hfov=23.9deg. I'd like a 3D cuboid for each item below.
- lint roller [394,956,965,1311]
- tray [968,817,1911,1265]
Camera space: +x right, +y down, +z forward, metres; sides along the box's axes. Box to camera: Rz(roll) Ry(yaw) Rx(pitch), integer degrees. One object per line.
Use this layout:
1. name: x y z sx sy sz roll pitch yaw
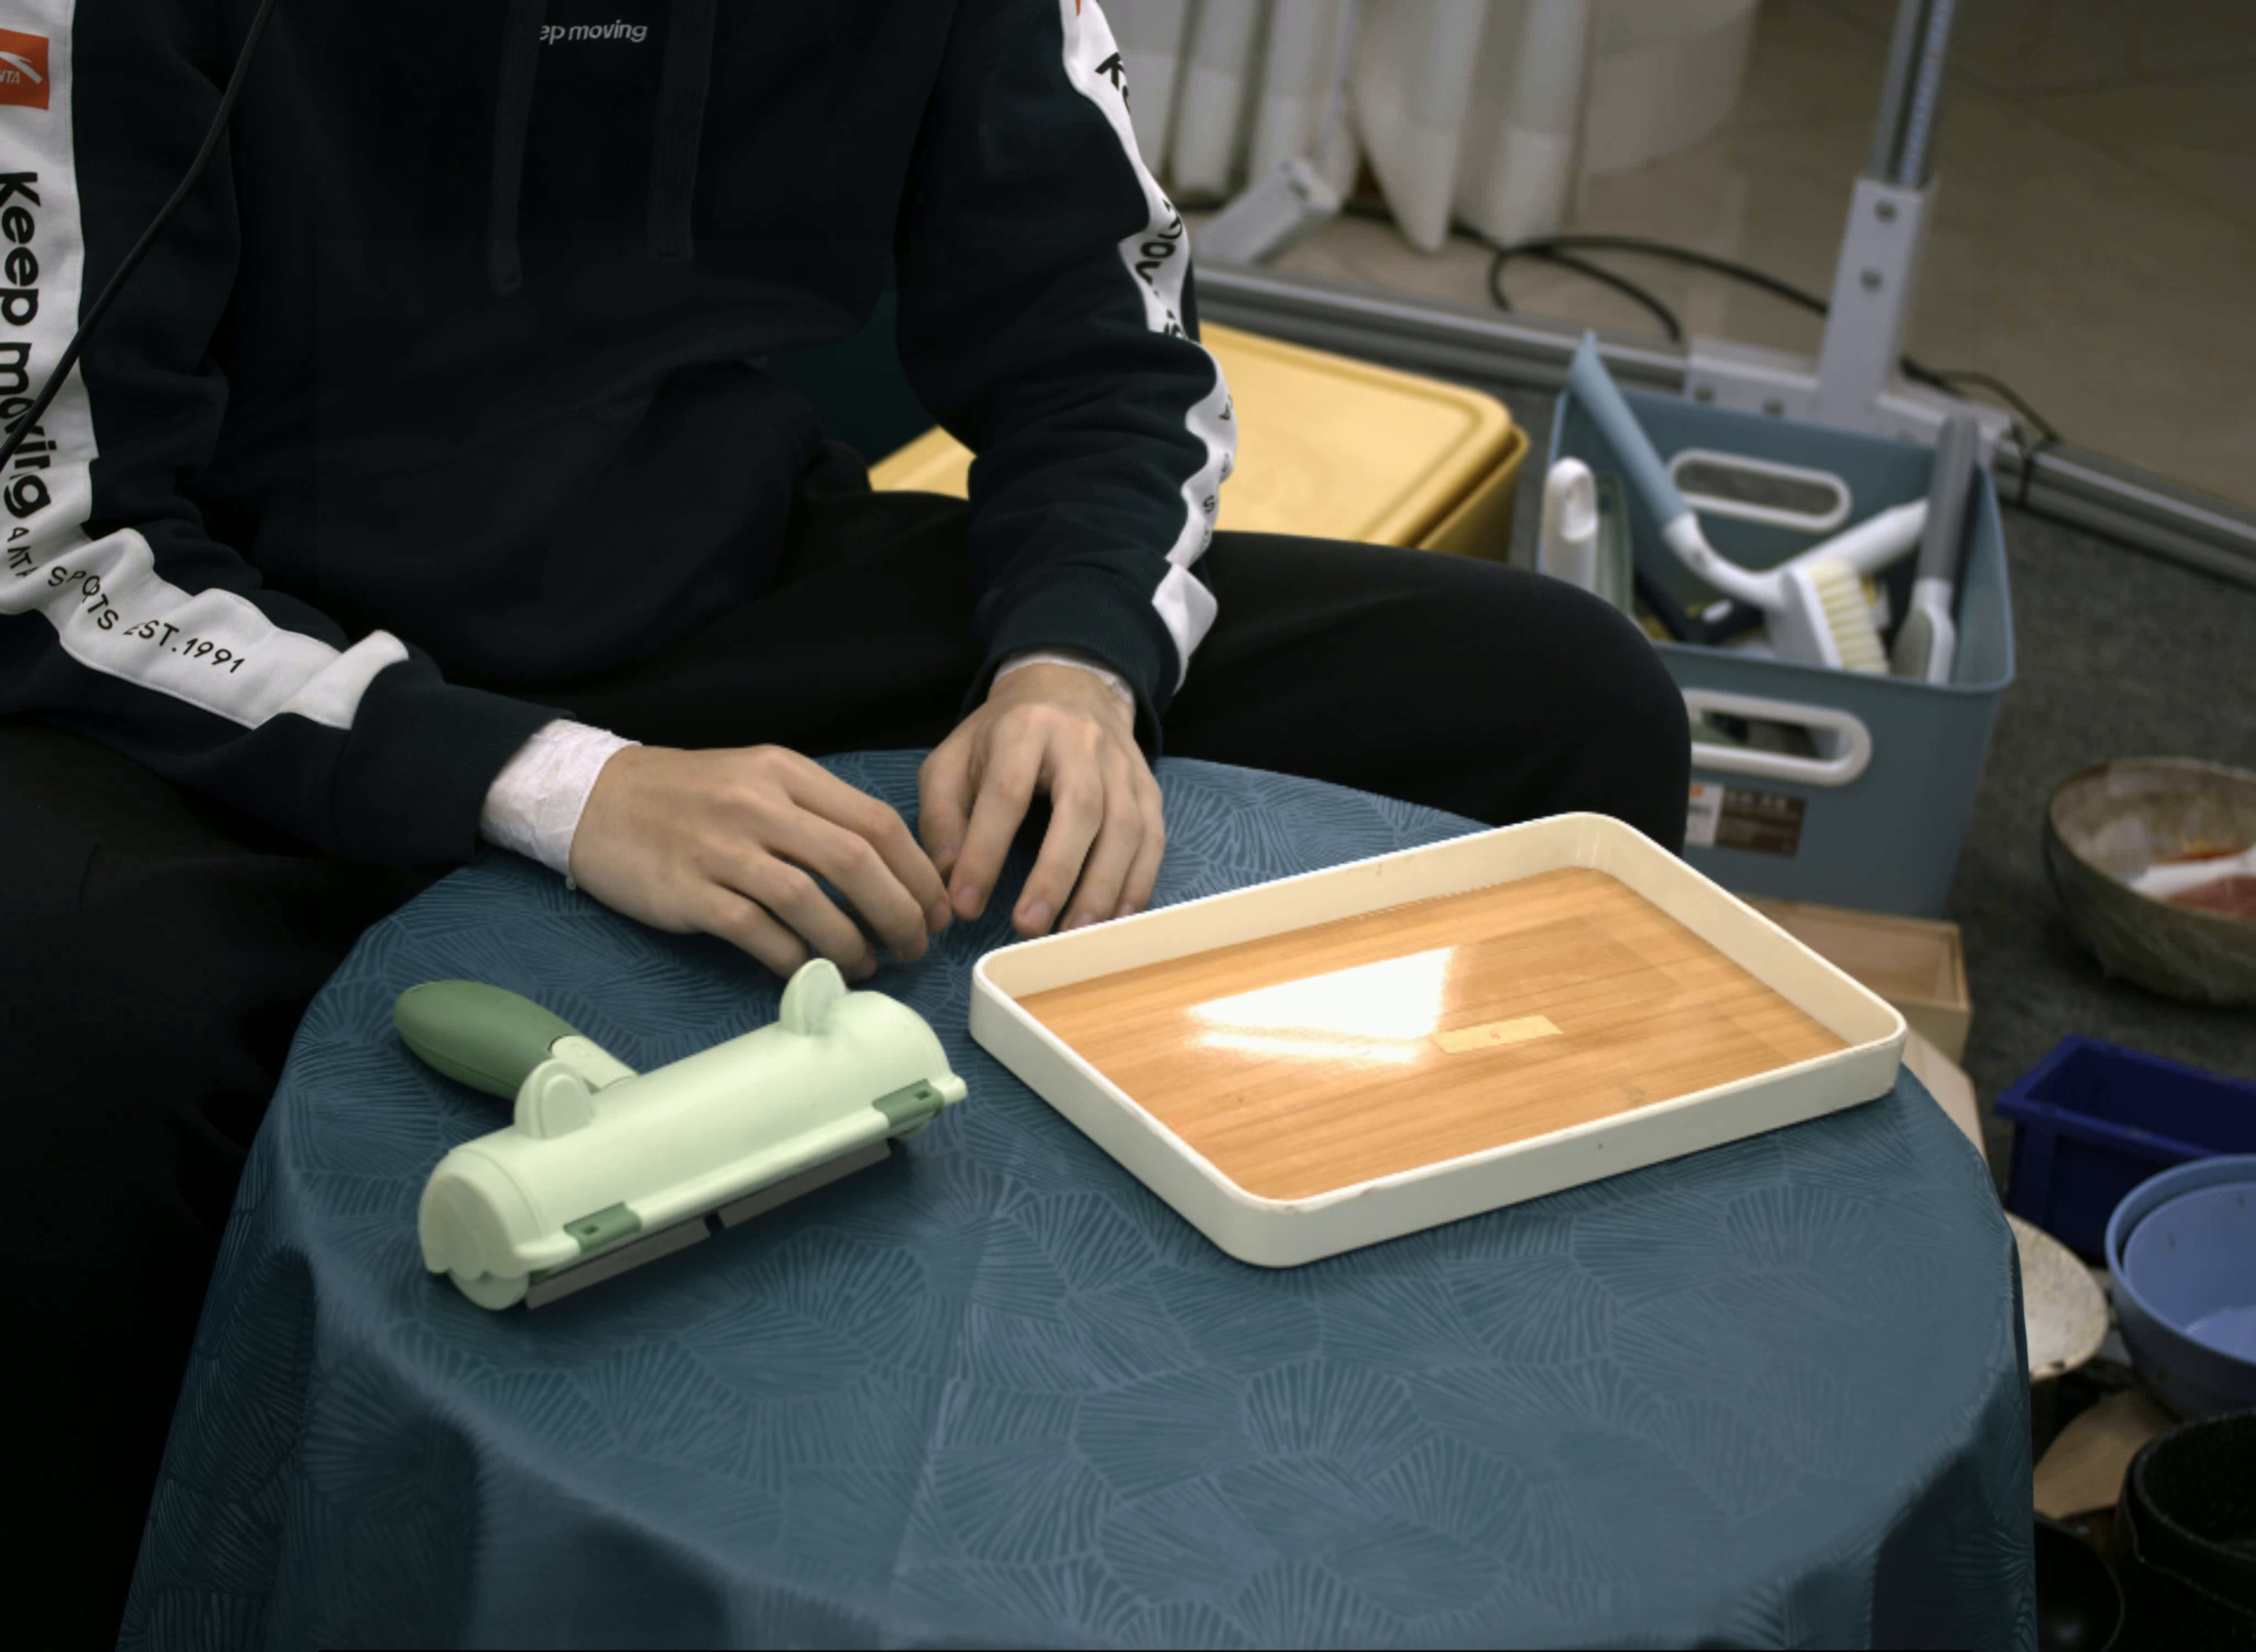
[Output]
1. lint roller: -0.182 0.074 1.774 0.197 0.082 0.185 -20 42 -41
2. tray: 0.111 0.072 1.896 0.298 0.027 0.193 -12 32 -33
